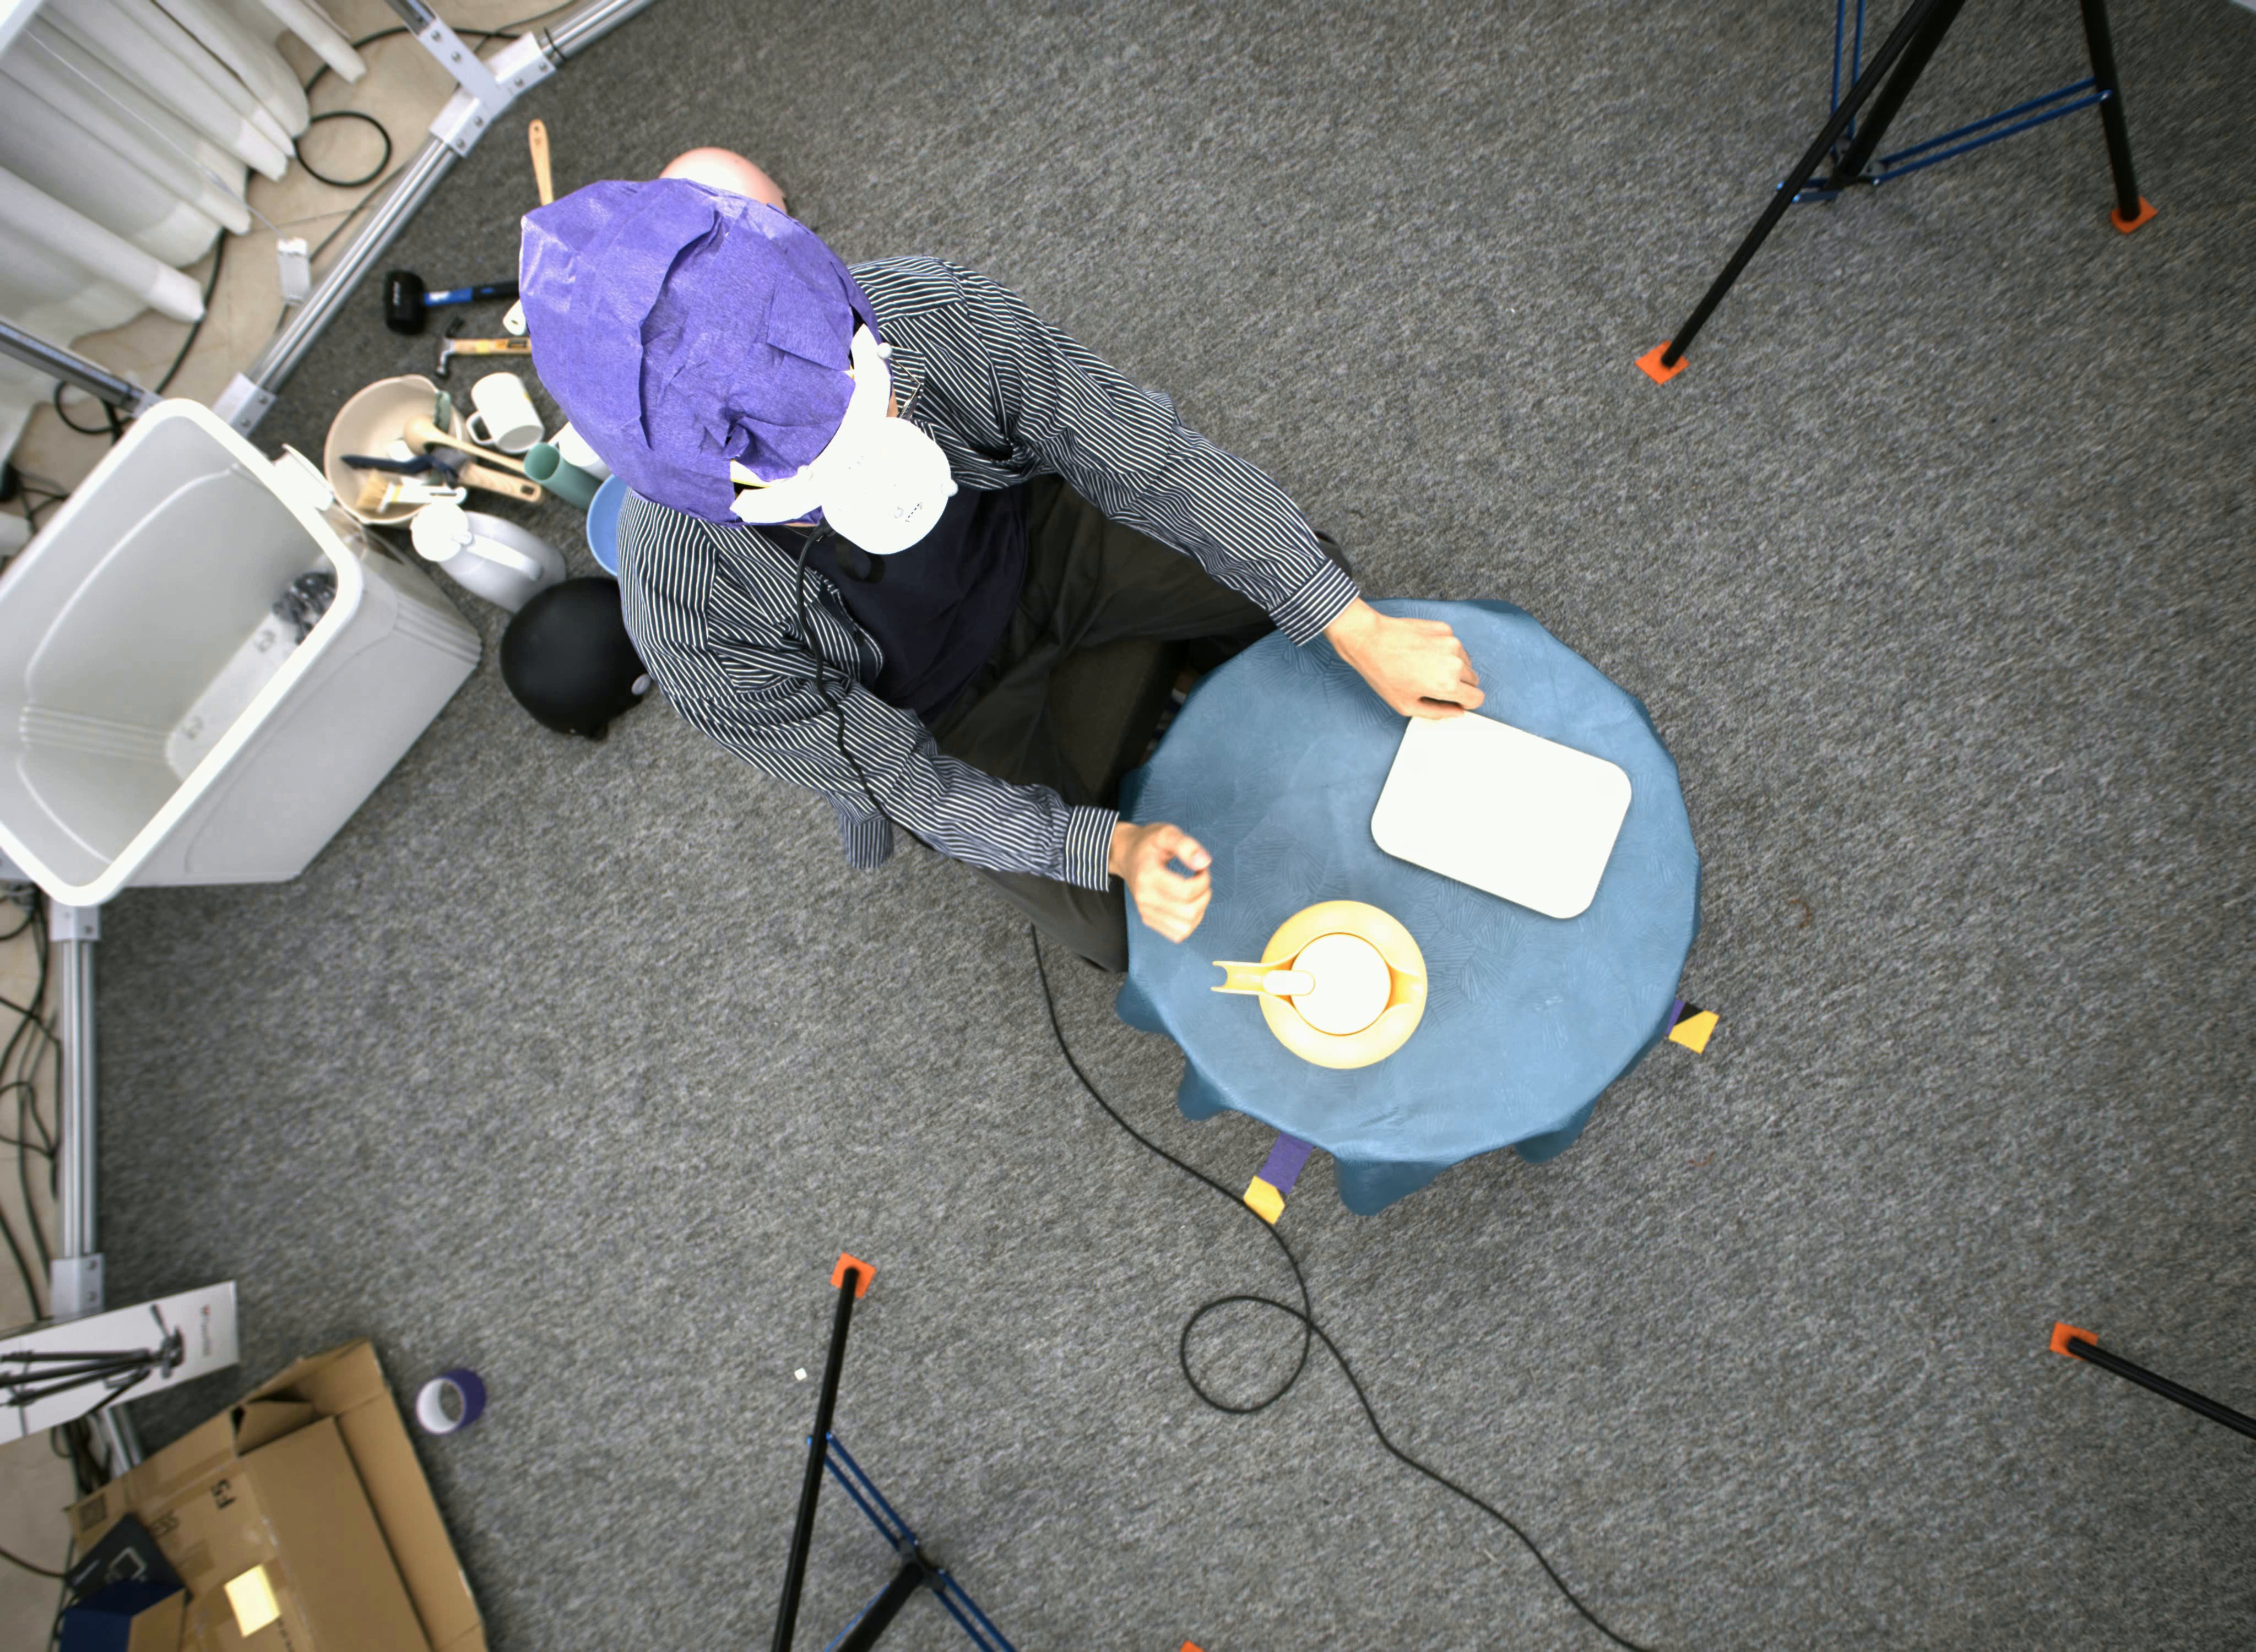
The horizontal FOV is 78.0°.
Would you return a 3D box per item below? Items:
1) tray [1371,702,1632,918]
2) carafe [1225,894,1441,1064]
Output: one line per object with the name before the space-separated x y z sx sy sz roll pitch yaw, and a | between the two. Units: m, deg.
tray | 0.385 -0.020 1.423 0.239 0.017 0.171 21 91 10
carafe | 0.198 0.143 1.327 0.203 0.261 0.162 0 84 9
